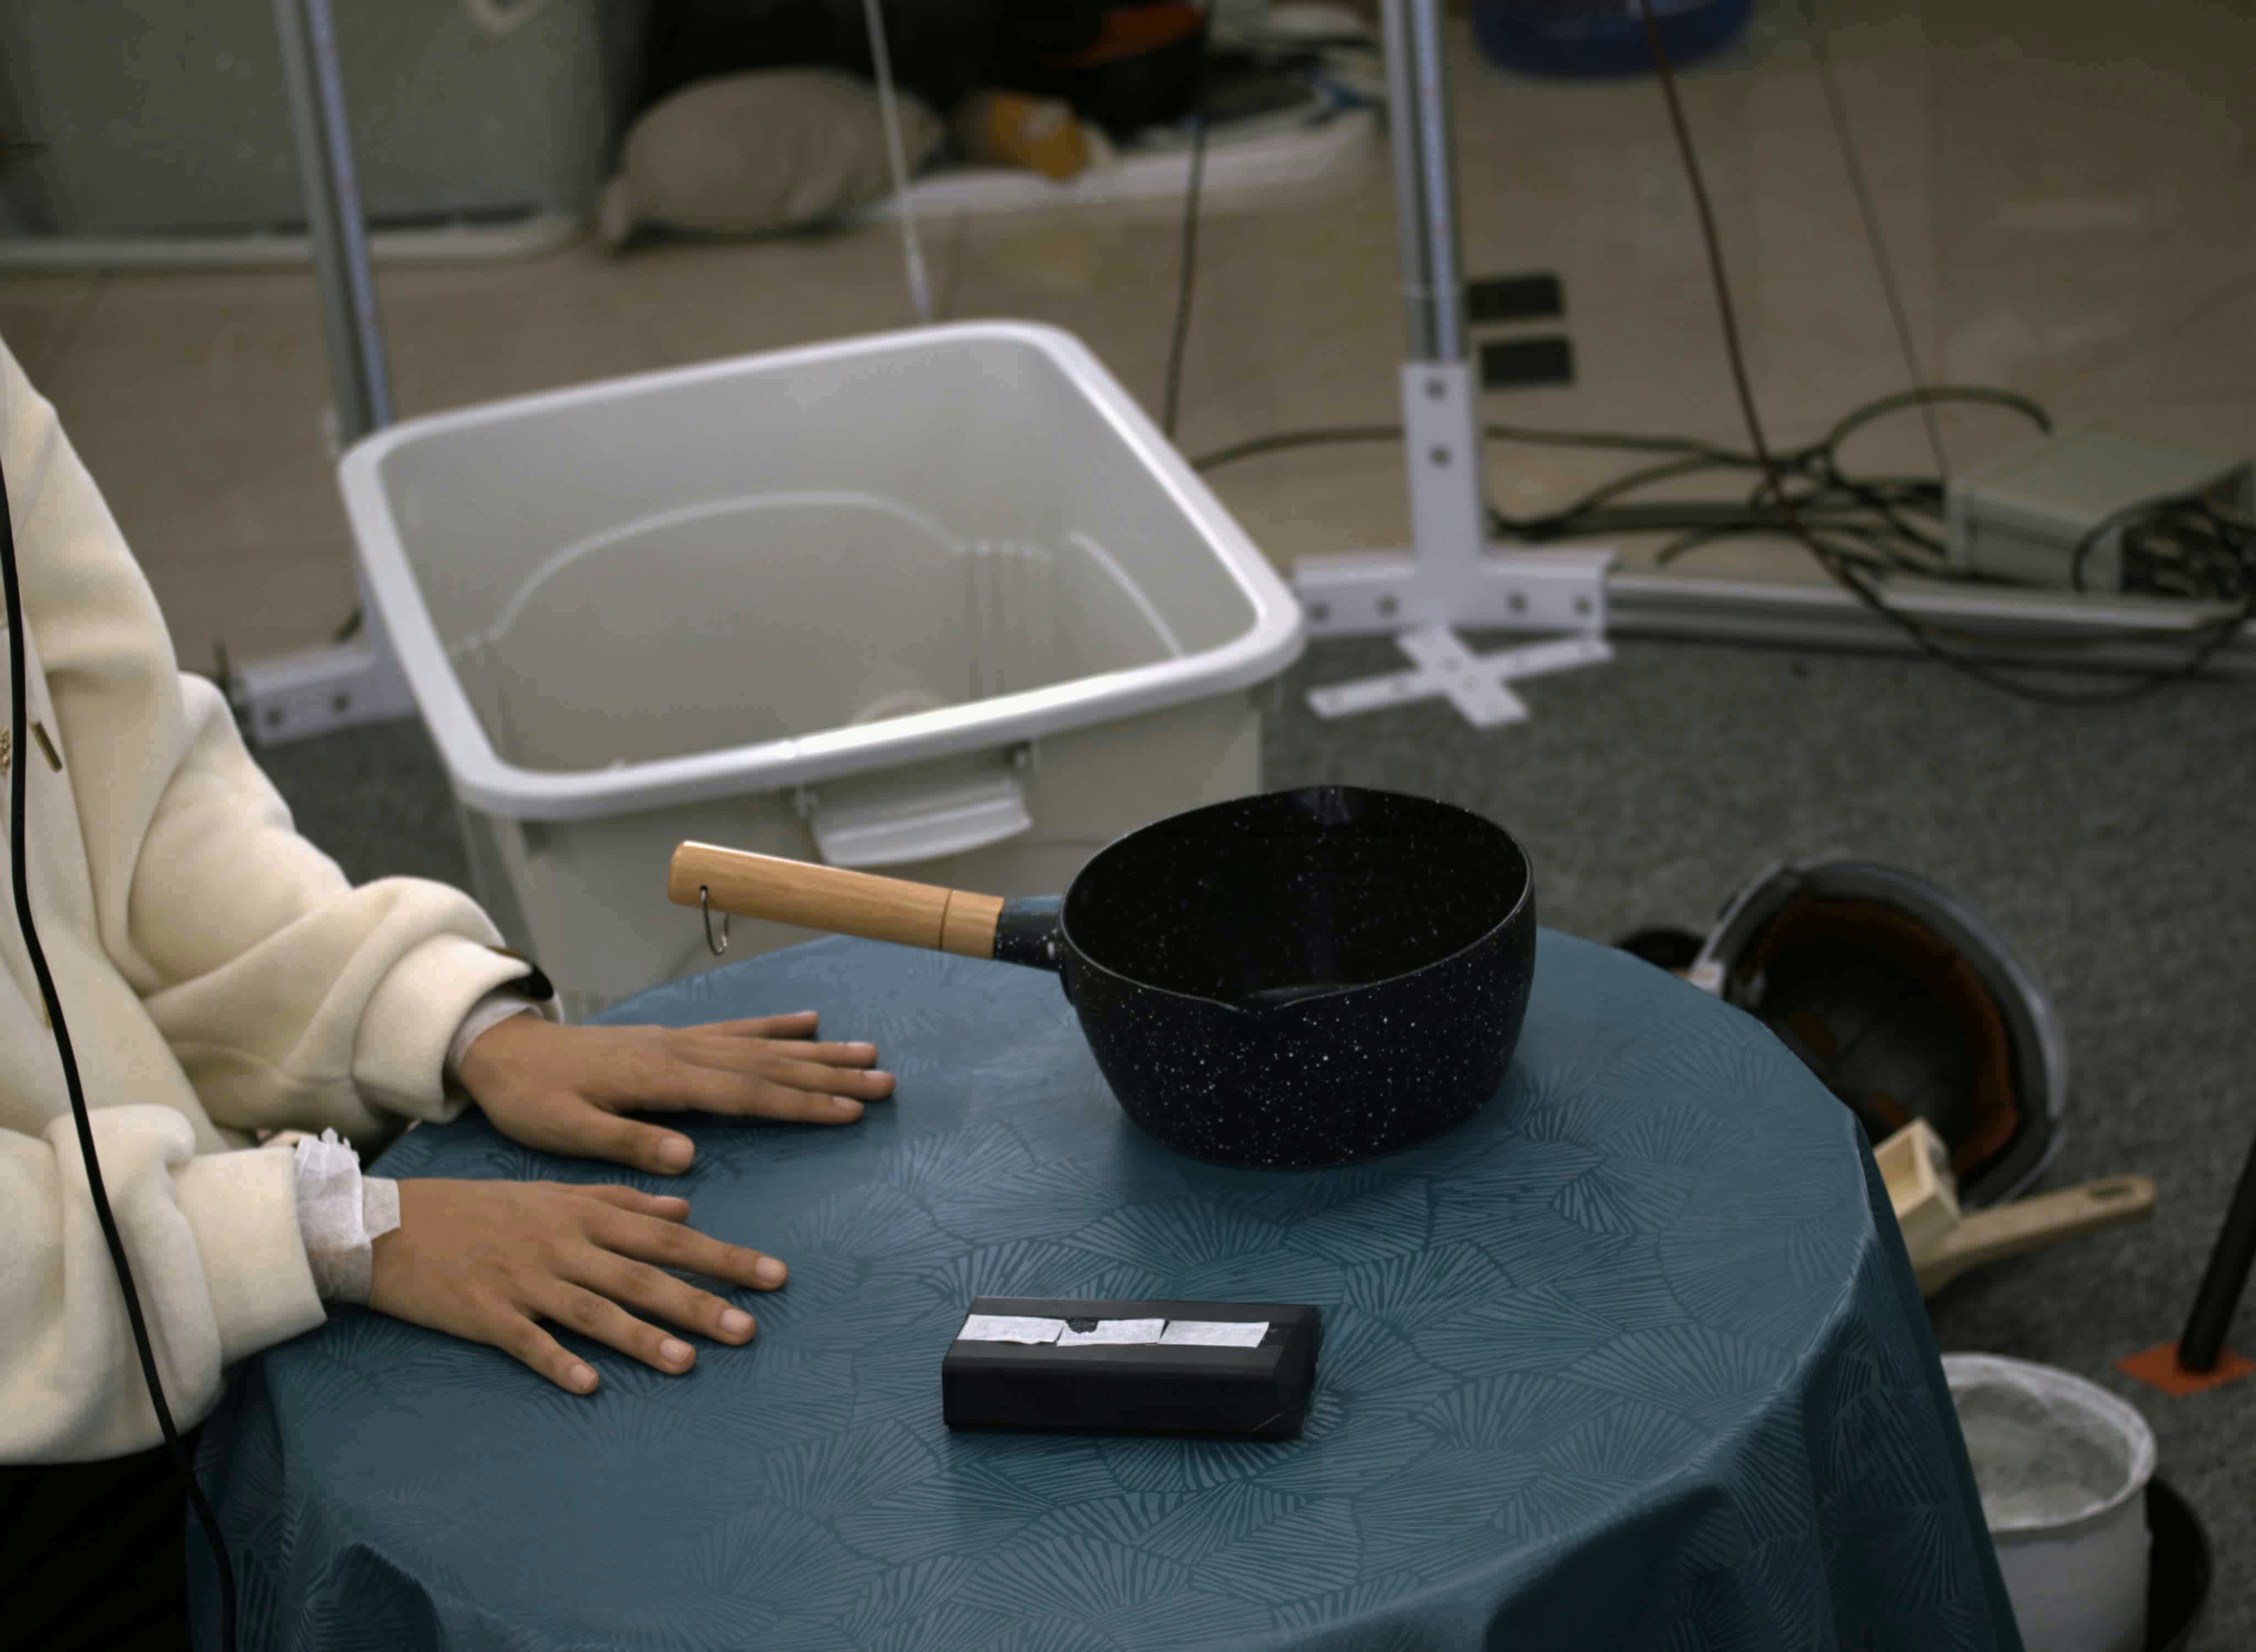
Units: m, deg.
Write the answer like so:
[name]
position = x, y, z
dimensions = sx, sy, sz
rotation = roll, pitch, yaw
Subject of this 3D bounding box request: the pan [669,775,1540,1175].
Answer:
[pan]
position = -0.010, 0.053, 2.204
dimensions = 0.342, 0.110, 0.204
rotation = 0, 27, 10

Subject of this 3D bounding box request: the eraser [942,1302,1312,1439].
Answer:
[eraser]
position = 0.001, 0.192, 2.003
dimensions = 0.125, 0.031, 0.053
rotation = 0, 25, 16
